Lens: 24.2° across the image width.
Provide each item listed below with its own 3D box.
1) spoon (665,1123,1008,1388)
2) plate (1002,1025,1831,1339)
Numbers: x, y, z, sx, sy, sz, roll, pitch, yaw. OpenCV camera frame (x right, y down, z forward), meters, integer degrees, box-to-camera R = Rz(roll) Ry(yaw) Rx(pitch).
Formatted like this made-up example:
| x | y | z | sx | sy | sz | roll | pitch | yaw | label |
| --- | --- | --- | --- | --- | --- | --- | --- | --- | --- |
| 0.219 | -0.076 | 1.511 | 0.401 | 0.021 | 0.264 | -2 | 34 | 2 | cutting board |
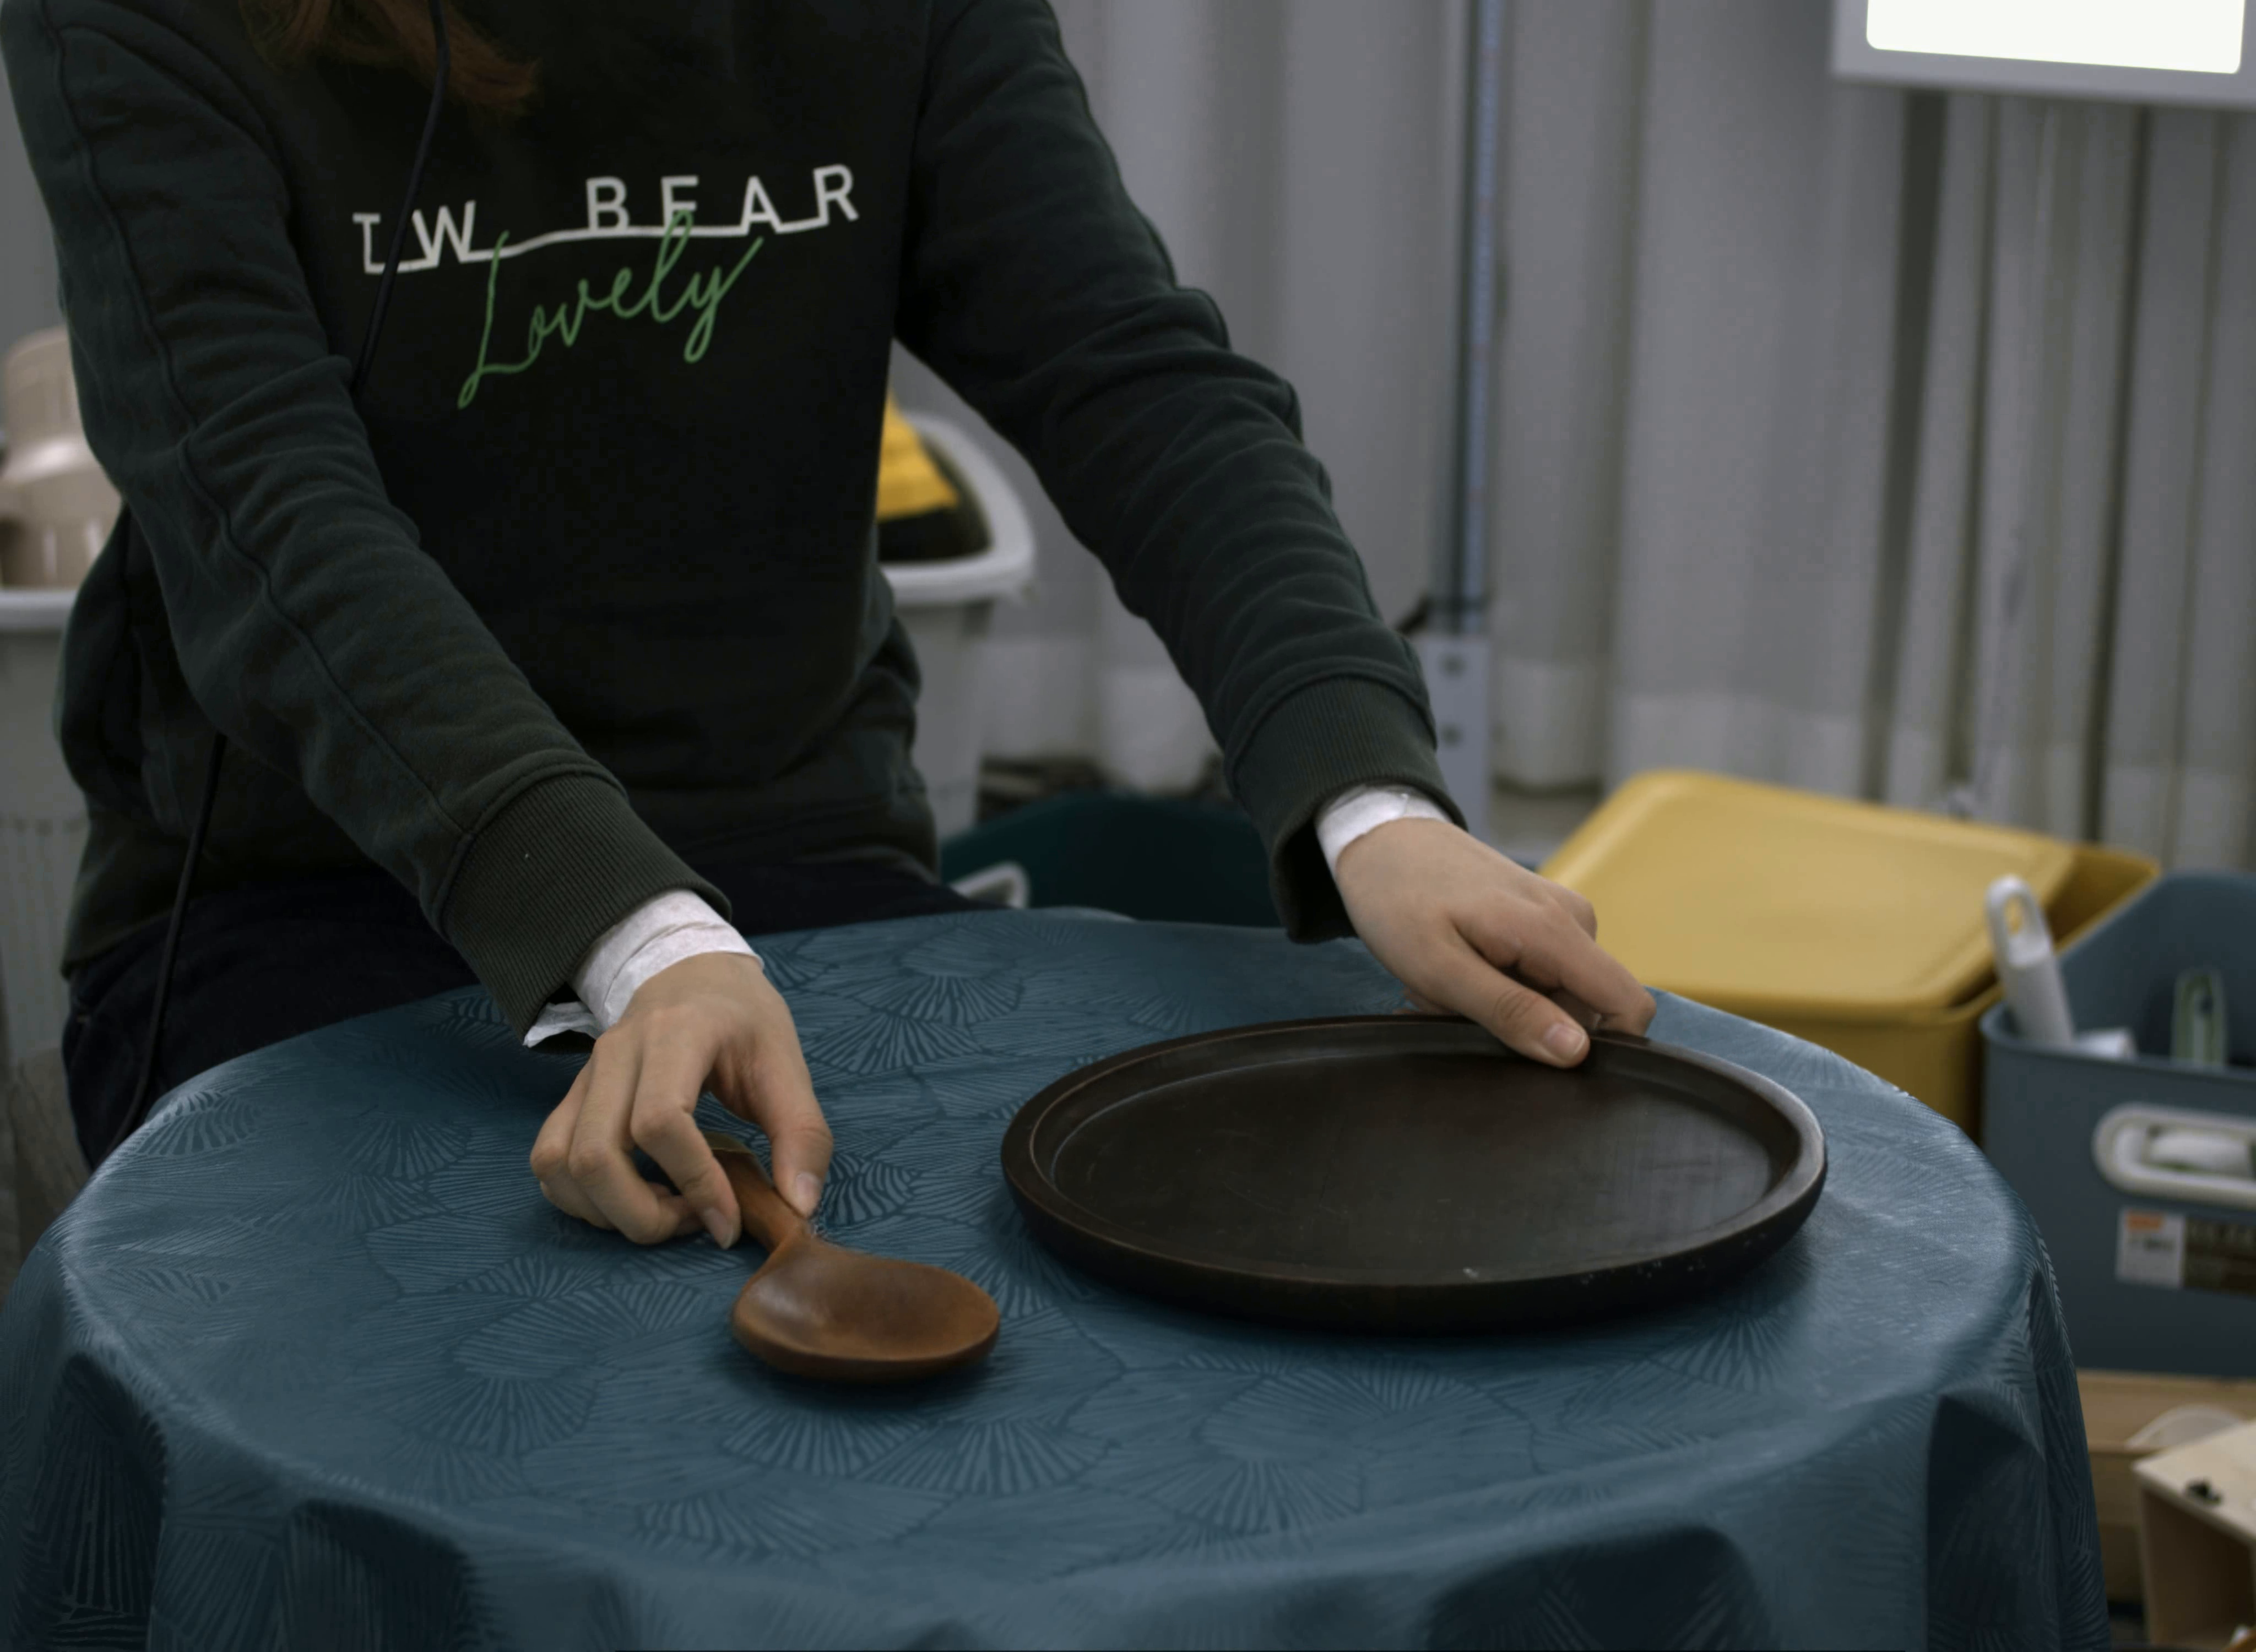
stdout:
| x | y | z | sx | sy | sz | roll | pitch | yaw | label |
| --- | --- | --- | --- | --- | --- | --- | --- | --- | --- |
| -0.095 | 0.126 | 1.543 | 0.076 | 0.017 | 0.213 | -6 | 17 | -21 | spoon |
| 0.087 | 0.105 | 1.609 | 0.254 | 0.029 | 0.253 | 1 | 16 | 0 | plate |
